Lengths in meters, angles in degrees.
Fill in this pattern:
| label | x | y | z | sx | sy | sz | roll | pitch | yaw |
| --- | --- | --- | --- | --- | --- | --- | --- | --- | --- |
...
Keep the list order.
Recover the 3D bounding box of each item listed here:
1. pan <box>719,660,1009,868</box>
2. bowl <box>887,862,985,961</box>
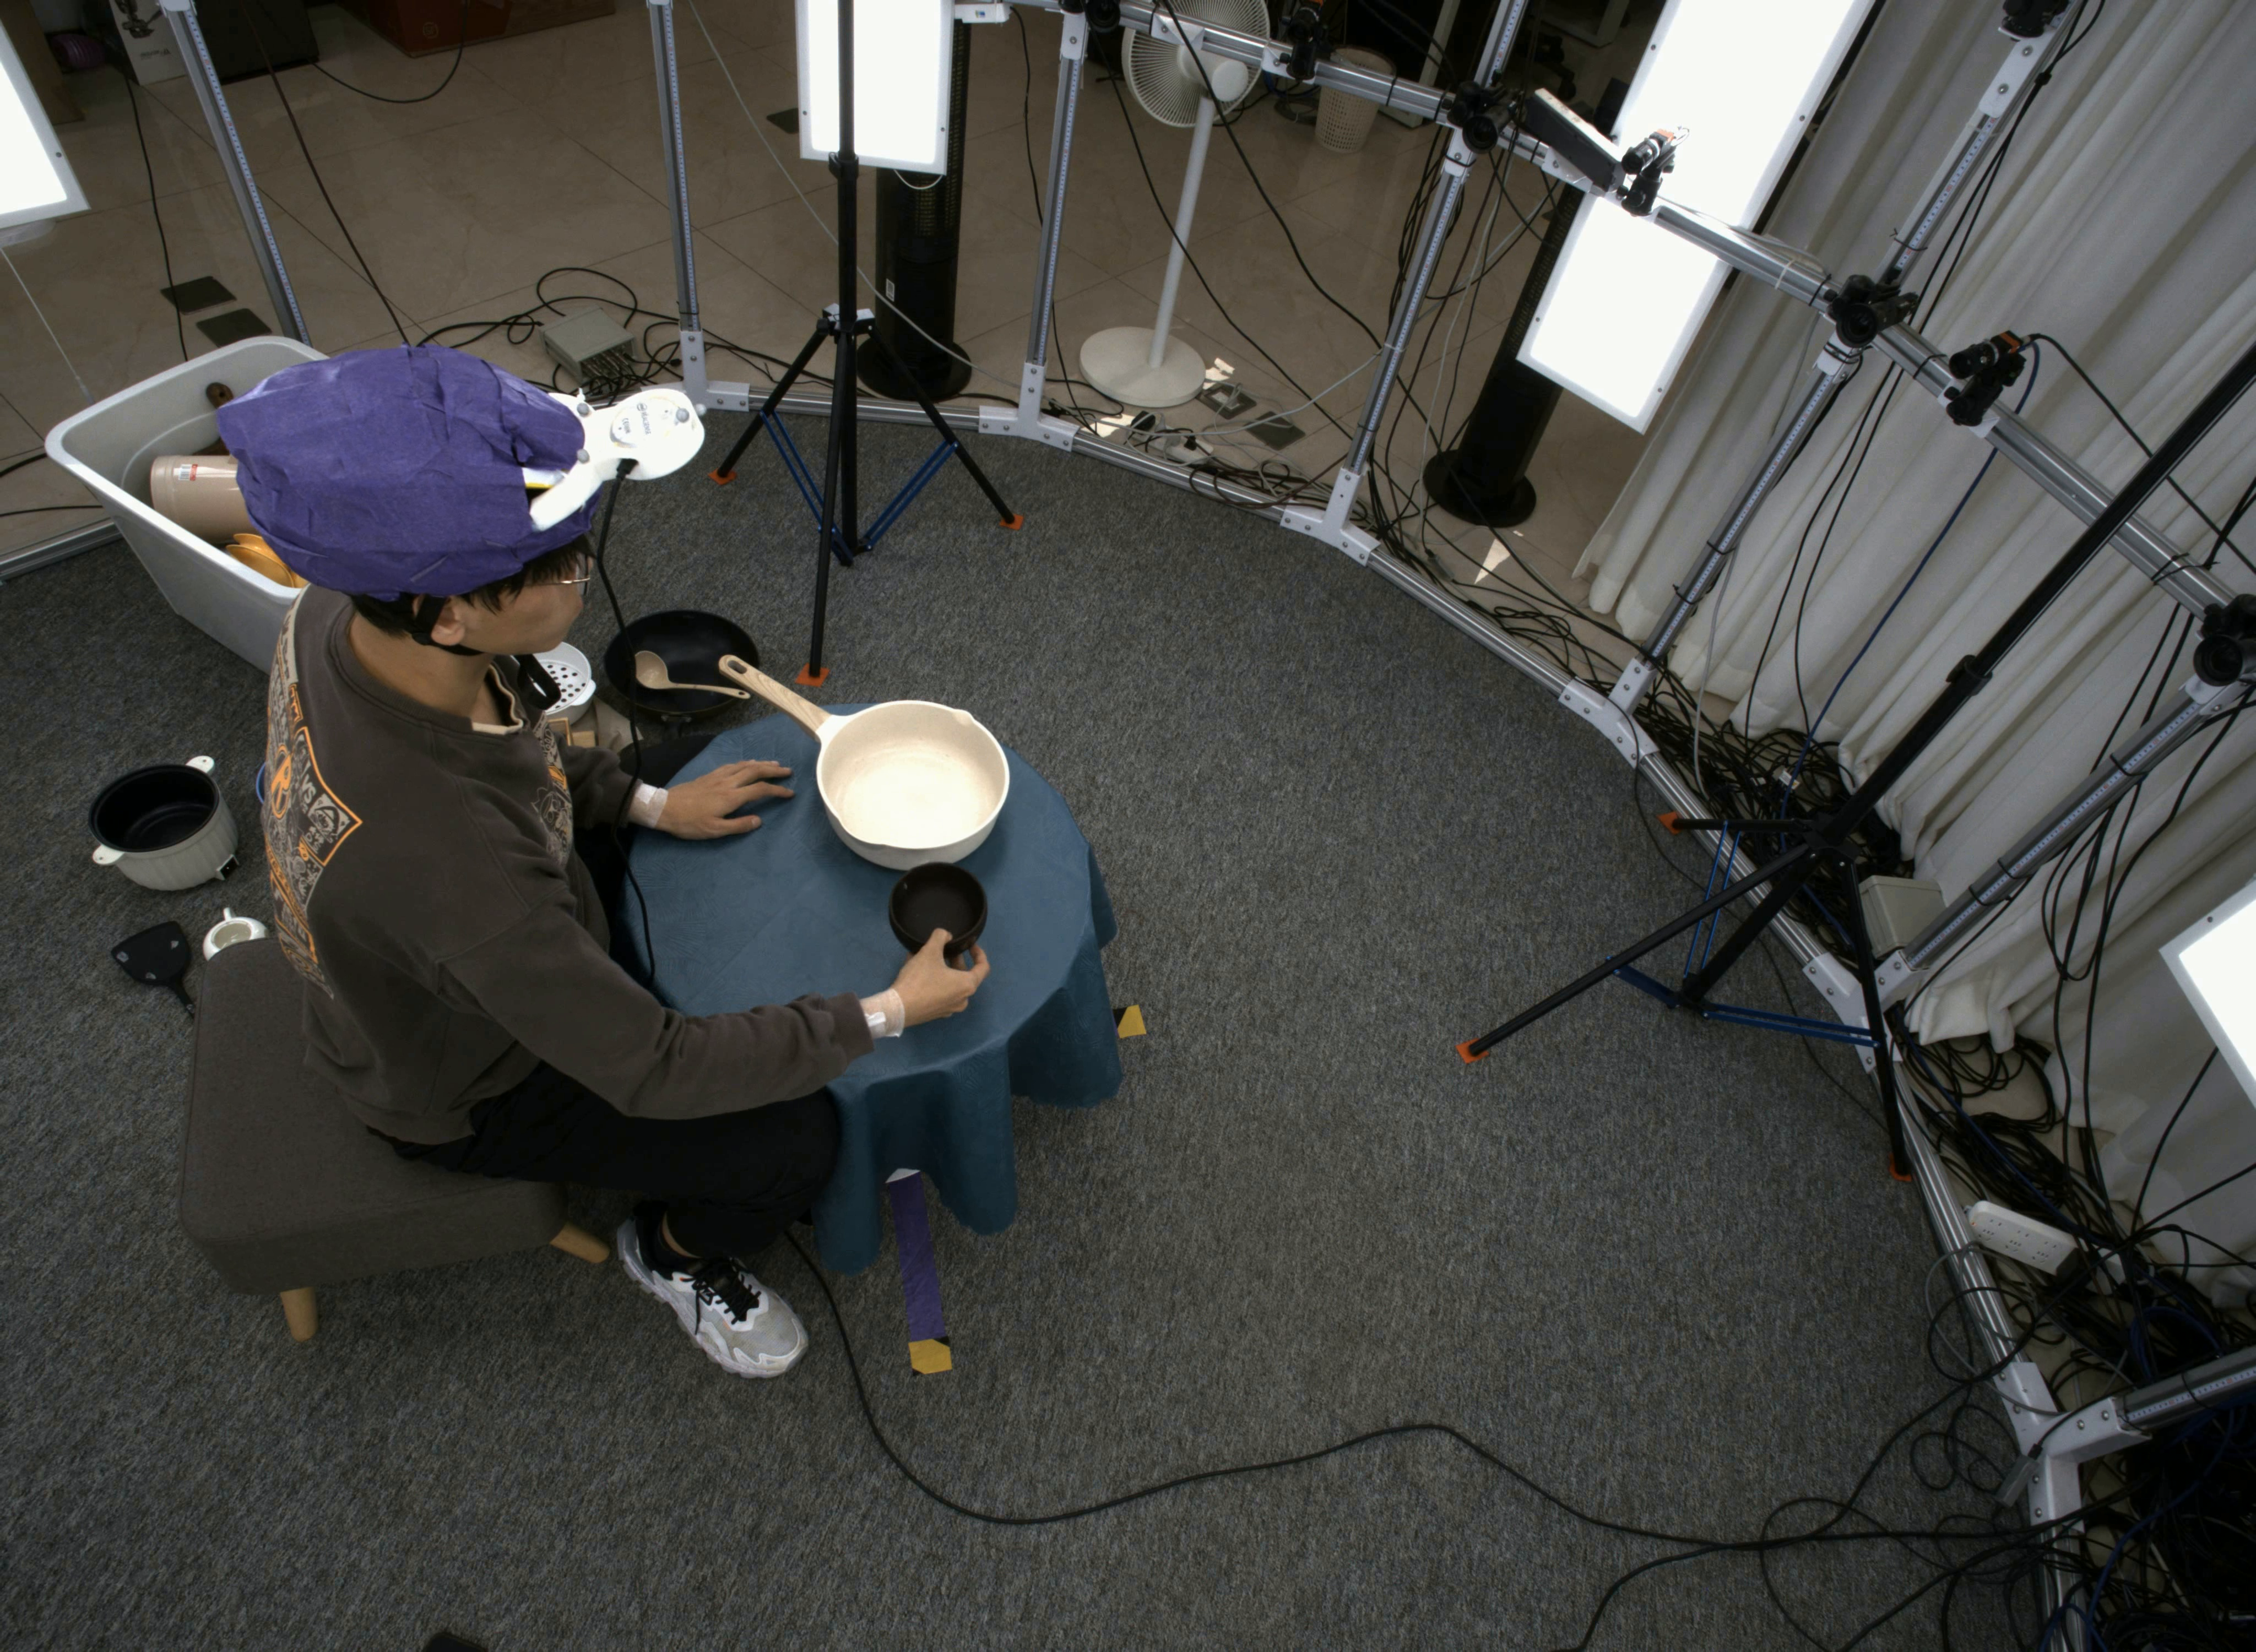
| label | x | y | z | sx | sy | sz | roll | pitch | yaw |
| --- | --- | --- | --- | --- | --- | --- | --- | --- | --- |
| pan | -0.367 | -0.098 | 1.761 | 0.428 | 0.104 | 0.262 | 27 | 55 | 7 |
| bowl | -0.234 | 0.110 | 1.586 | 0.117 | 0.071 | 0.116 | 5 | 59 | -7 |
